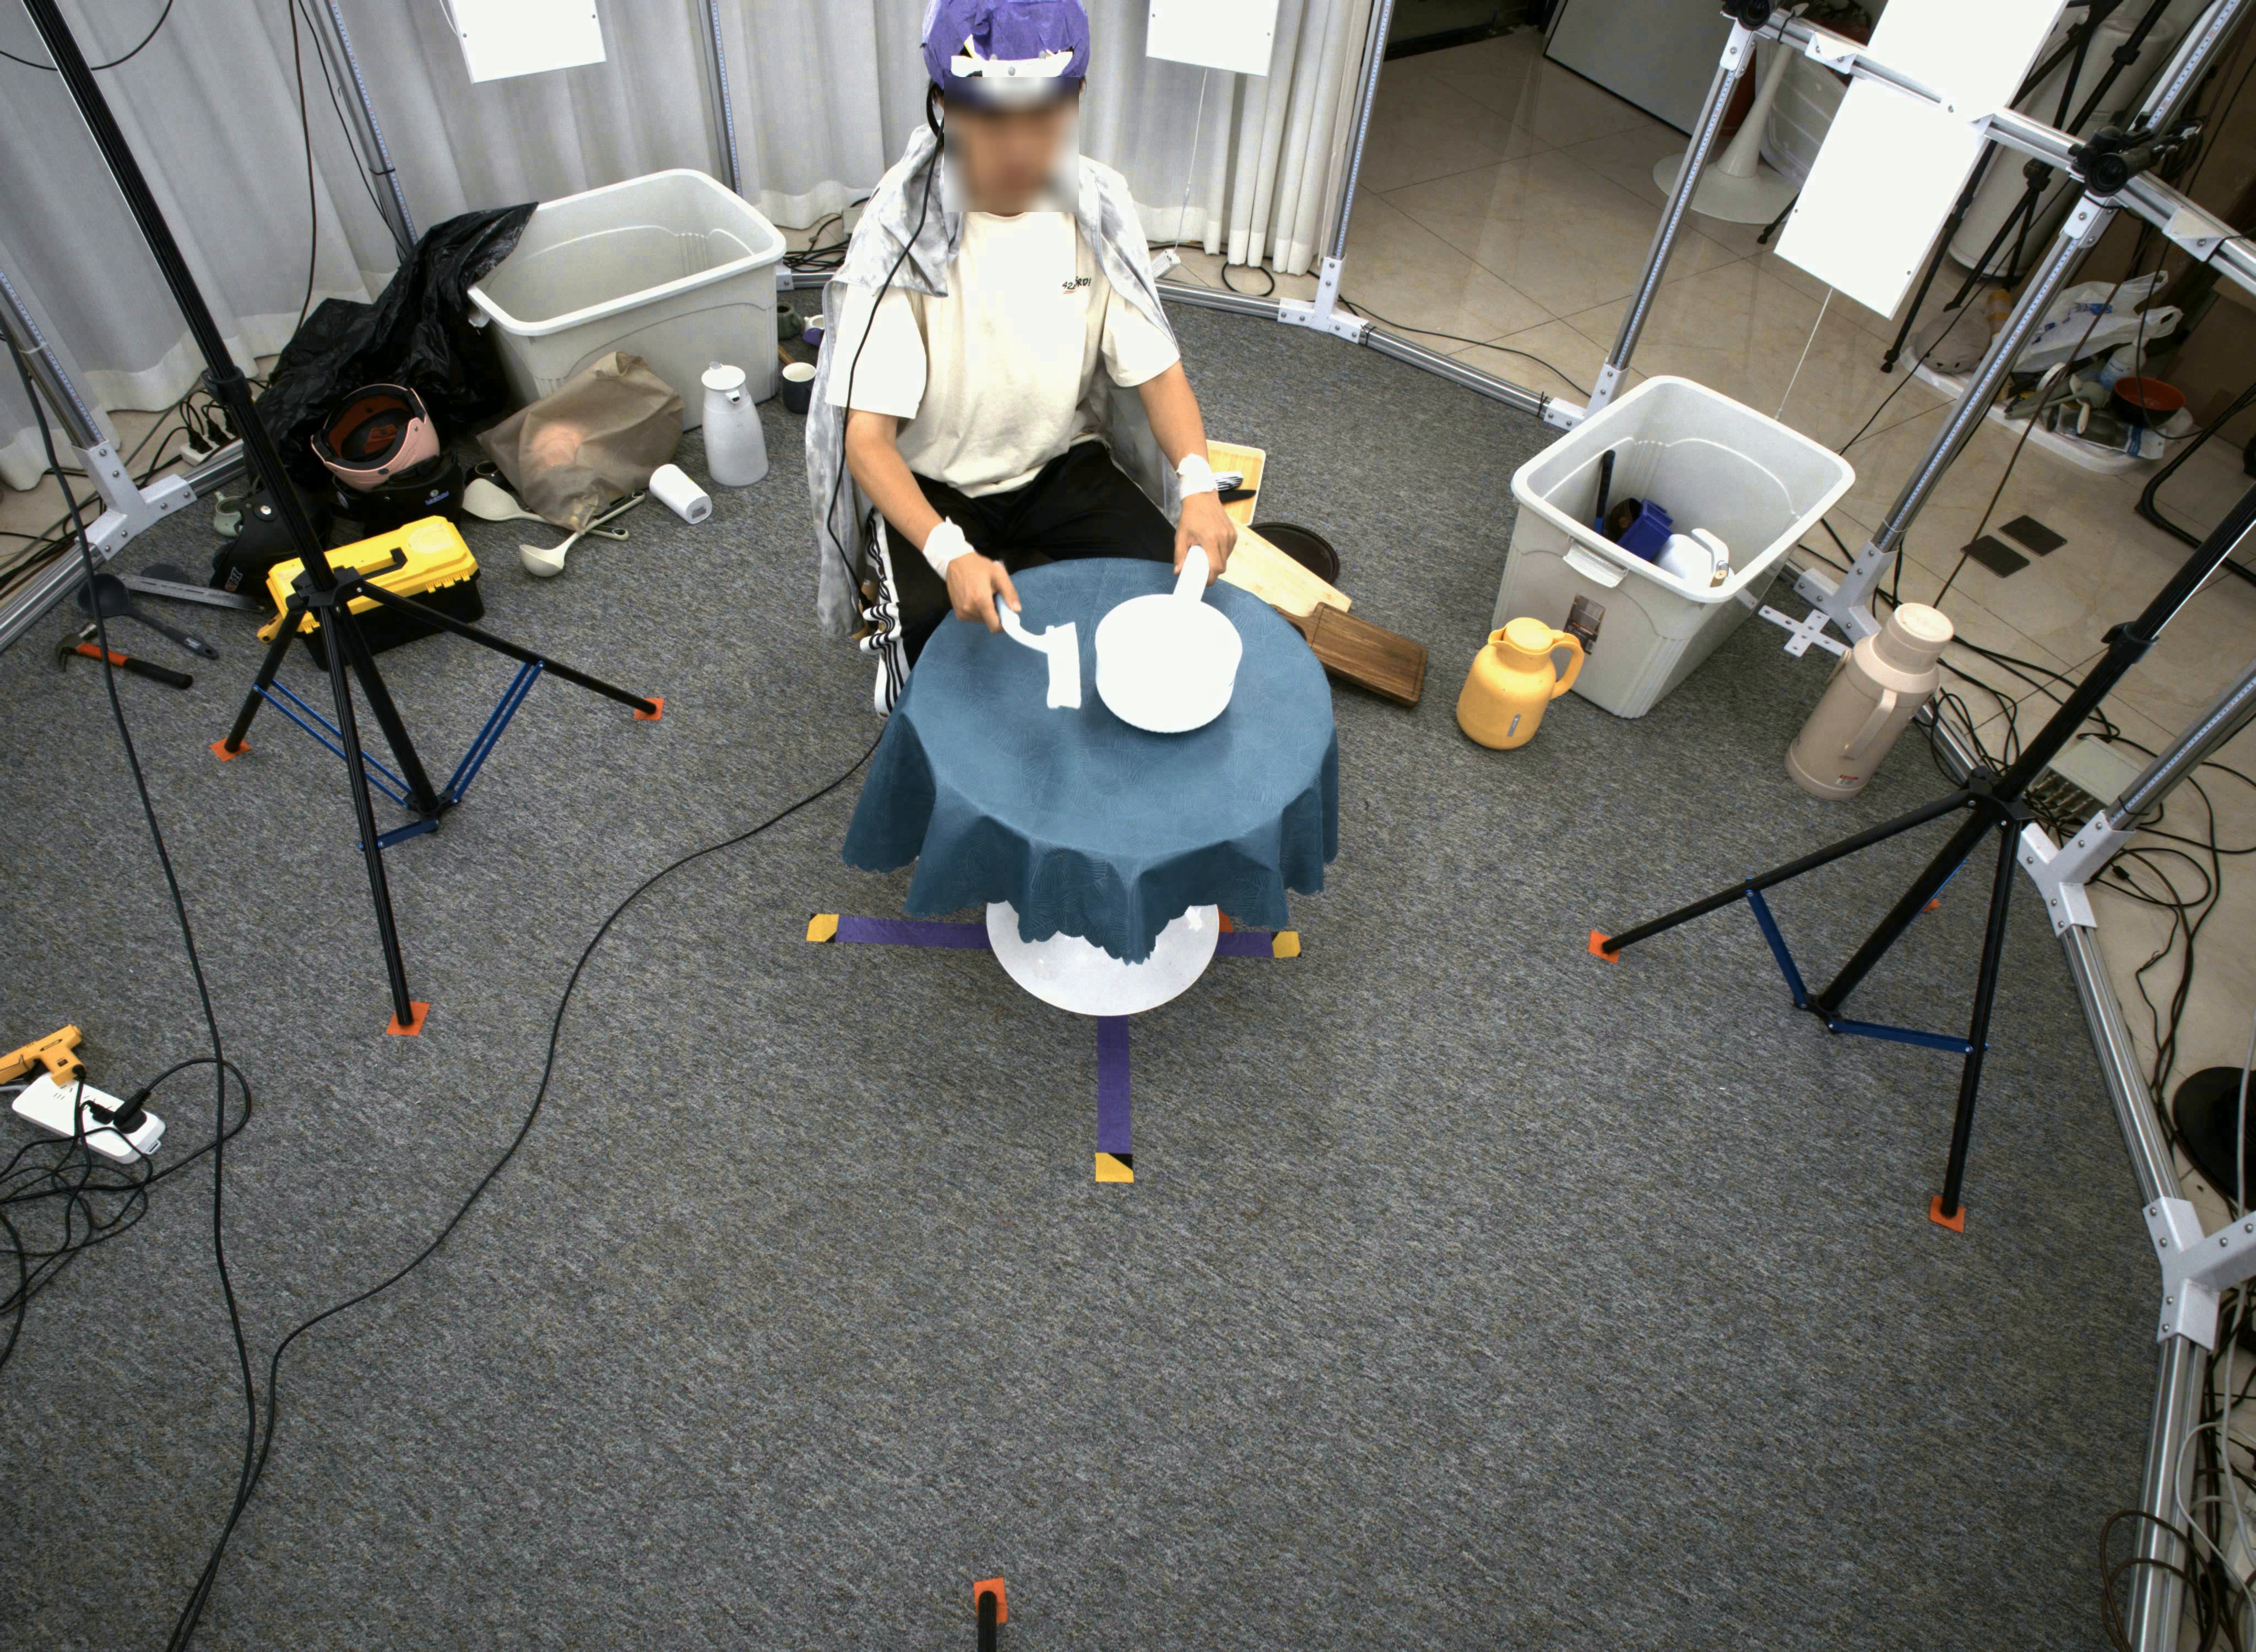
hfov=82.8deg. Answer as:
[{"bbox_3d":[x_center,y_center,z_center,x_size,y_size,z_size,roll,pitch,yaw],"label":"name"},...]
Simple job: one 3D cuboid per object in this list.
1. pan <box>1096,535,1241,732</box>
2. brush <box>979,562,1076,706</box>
[{"bbox_3d":[0.072,-0.278,1.843,0.201,0.099,0.362,13,48,7],"label":"pan"},{"bbox_3d":[-0.119,-0.276,1.756,0.083,0.082,0.333,20,31,-36],"label":"brush"}]
